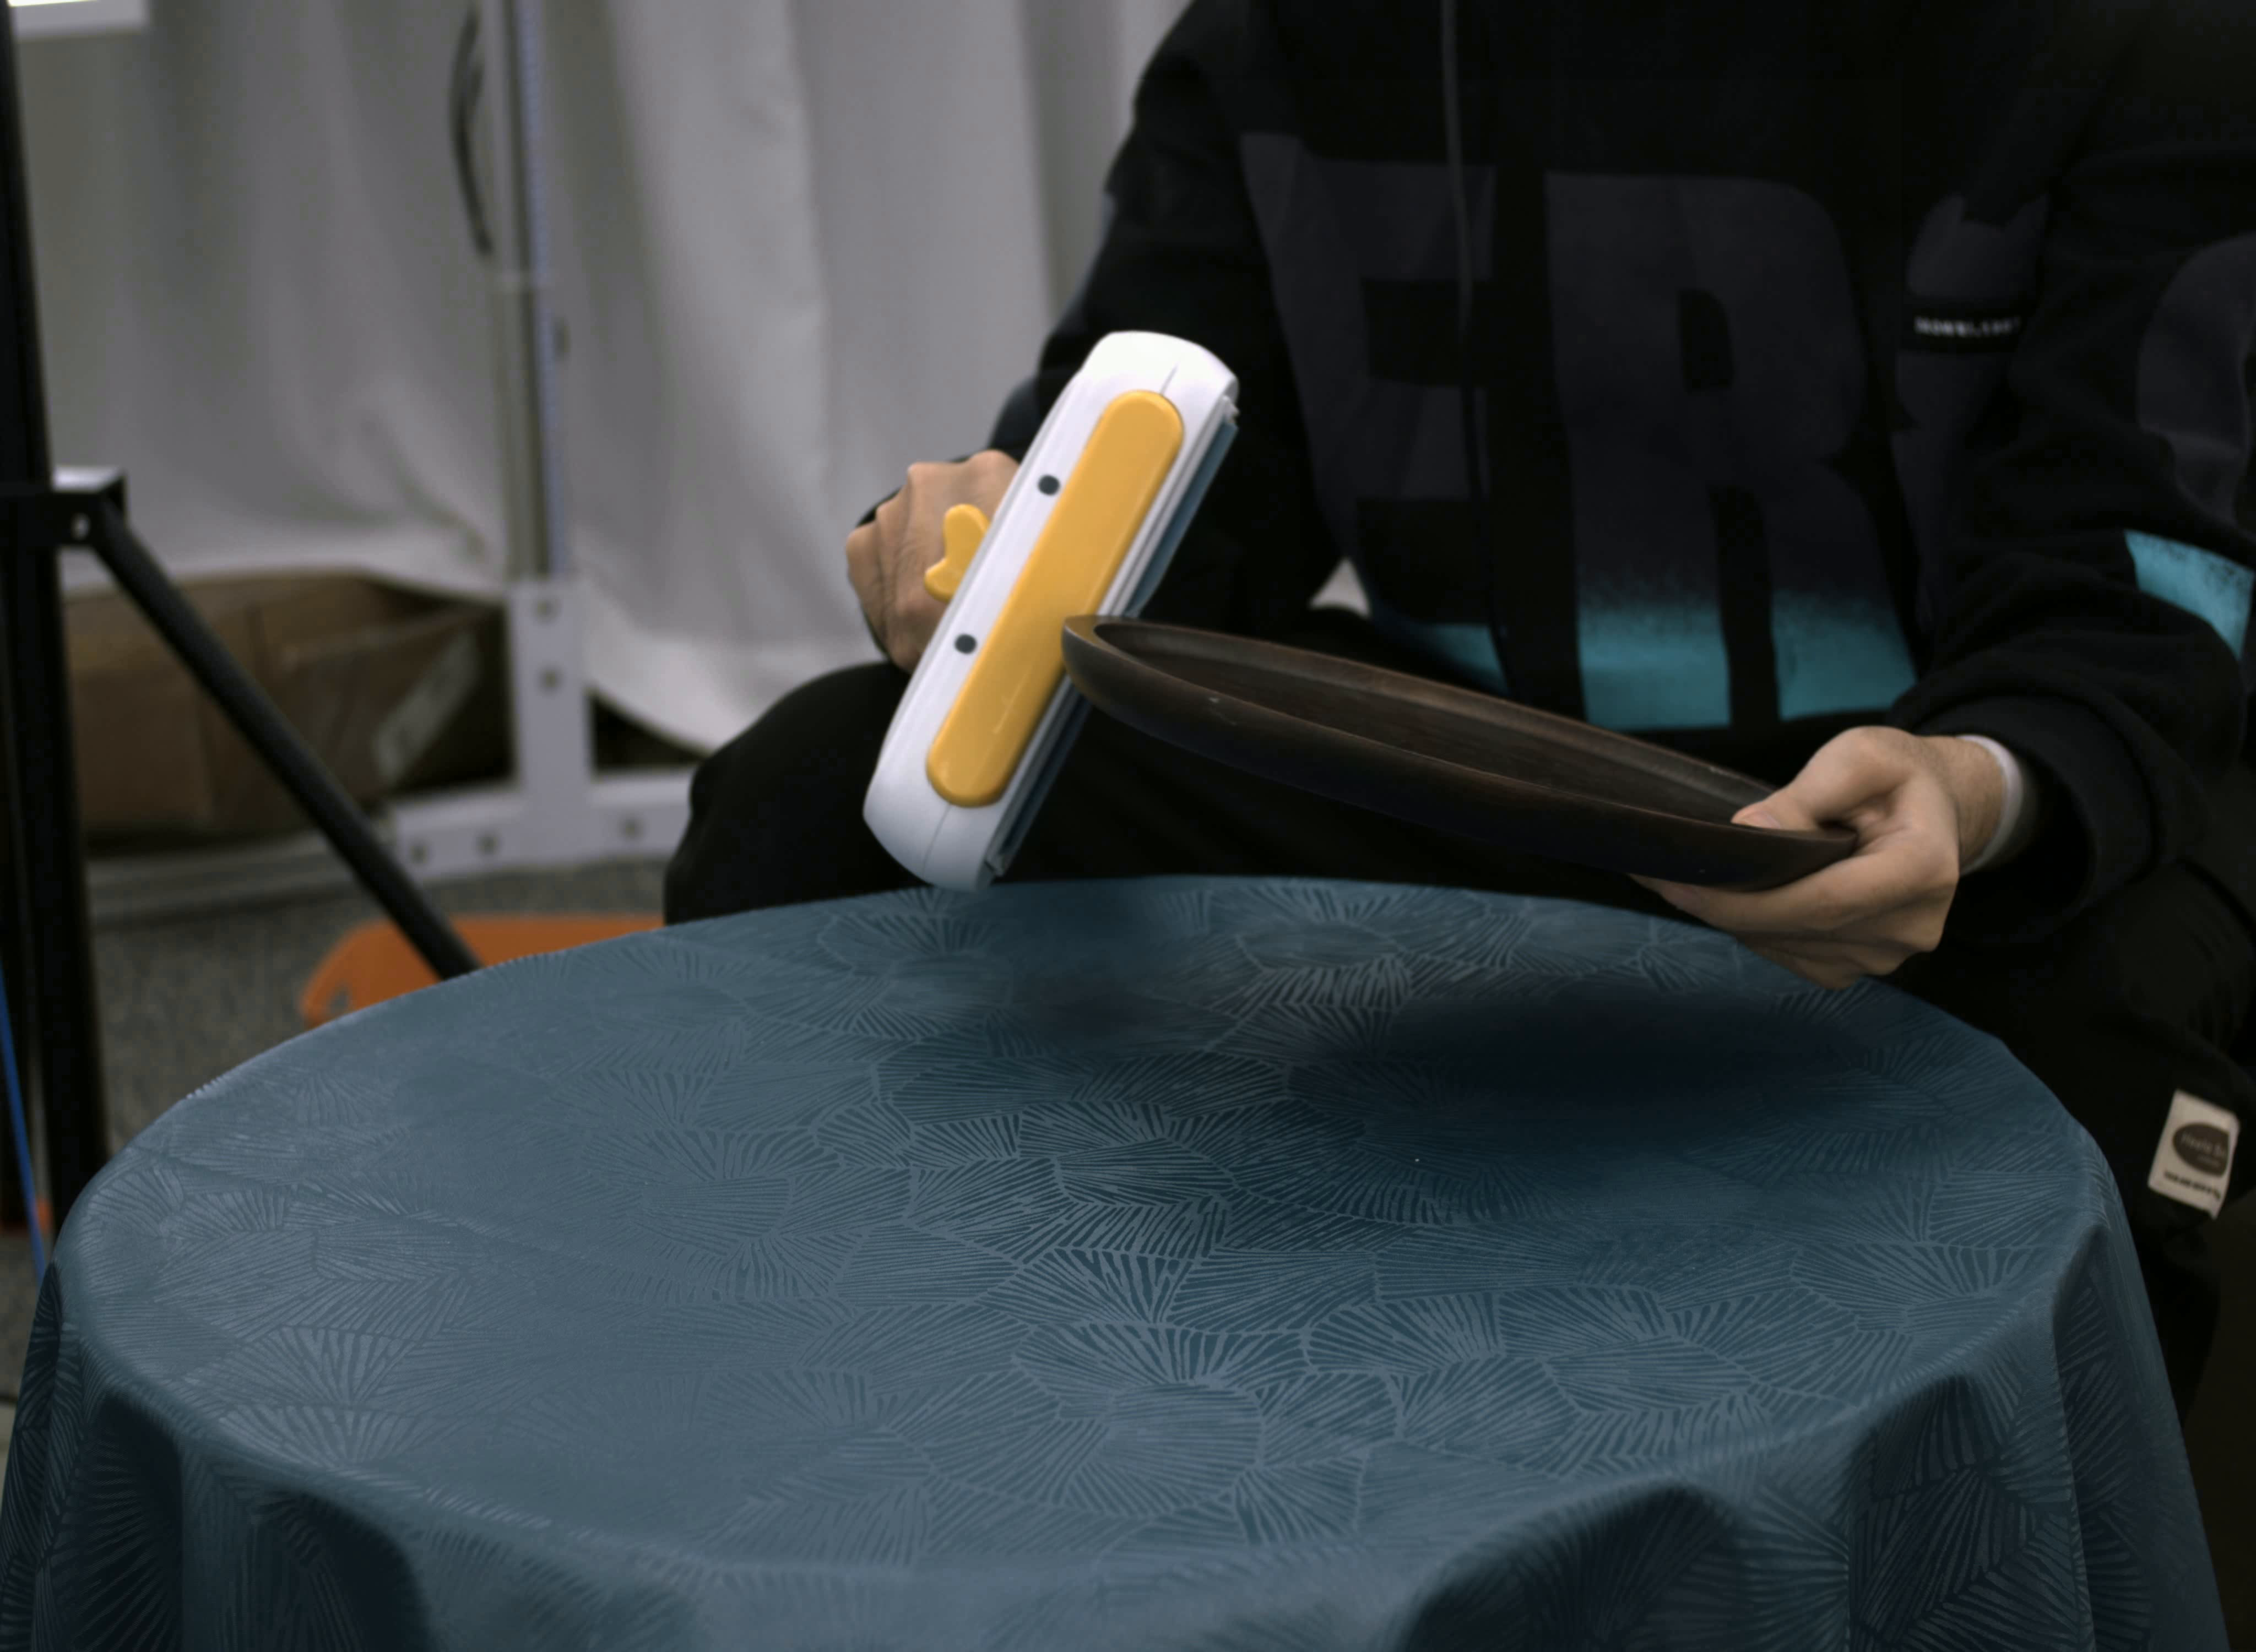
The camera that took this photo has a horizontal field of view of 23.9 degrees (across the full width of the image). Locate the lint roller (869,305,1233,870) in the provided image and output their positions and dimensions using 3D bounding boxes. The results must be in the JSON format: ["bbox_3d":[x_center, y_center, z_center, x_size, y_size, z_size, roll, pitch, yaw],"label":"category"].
[{"bbox_3d":[-0.035,-0.074,1.774,0.074,0.193,0.192,23,-8,-2],"label":"lint roller"}]

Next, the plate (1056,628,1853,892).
[{"bbox_3d":[0.098,-0.021,1.633,0.253,0.029,0.255,15,6,-3],"label":"plate"}]
